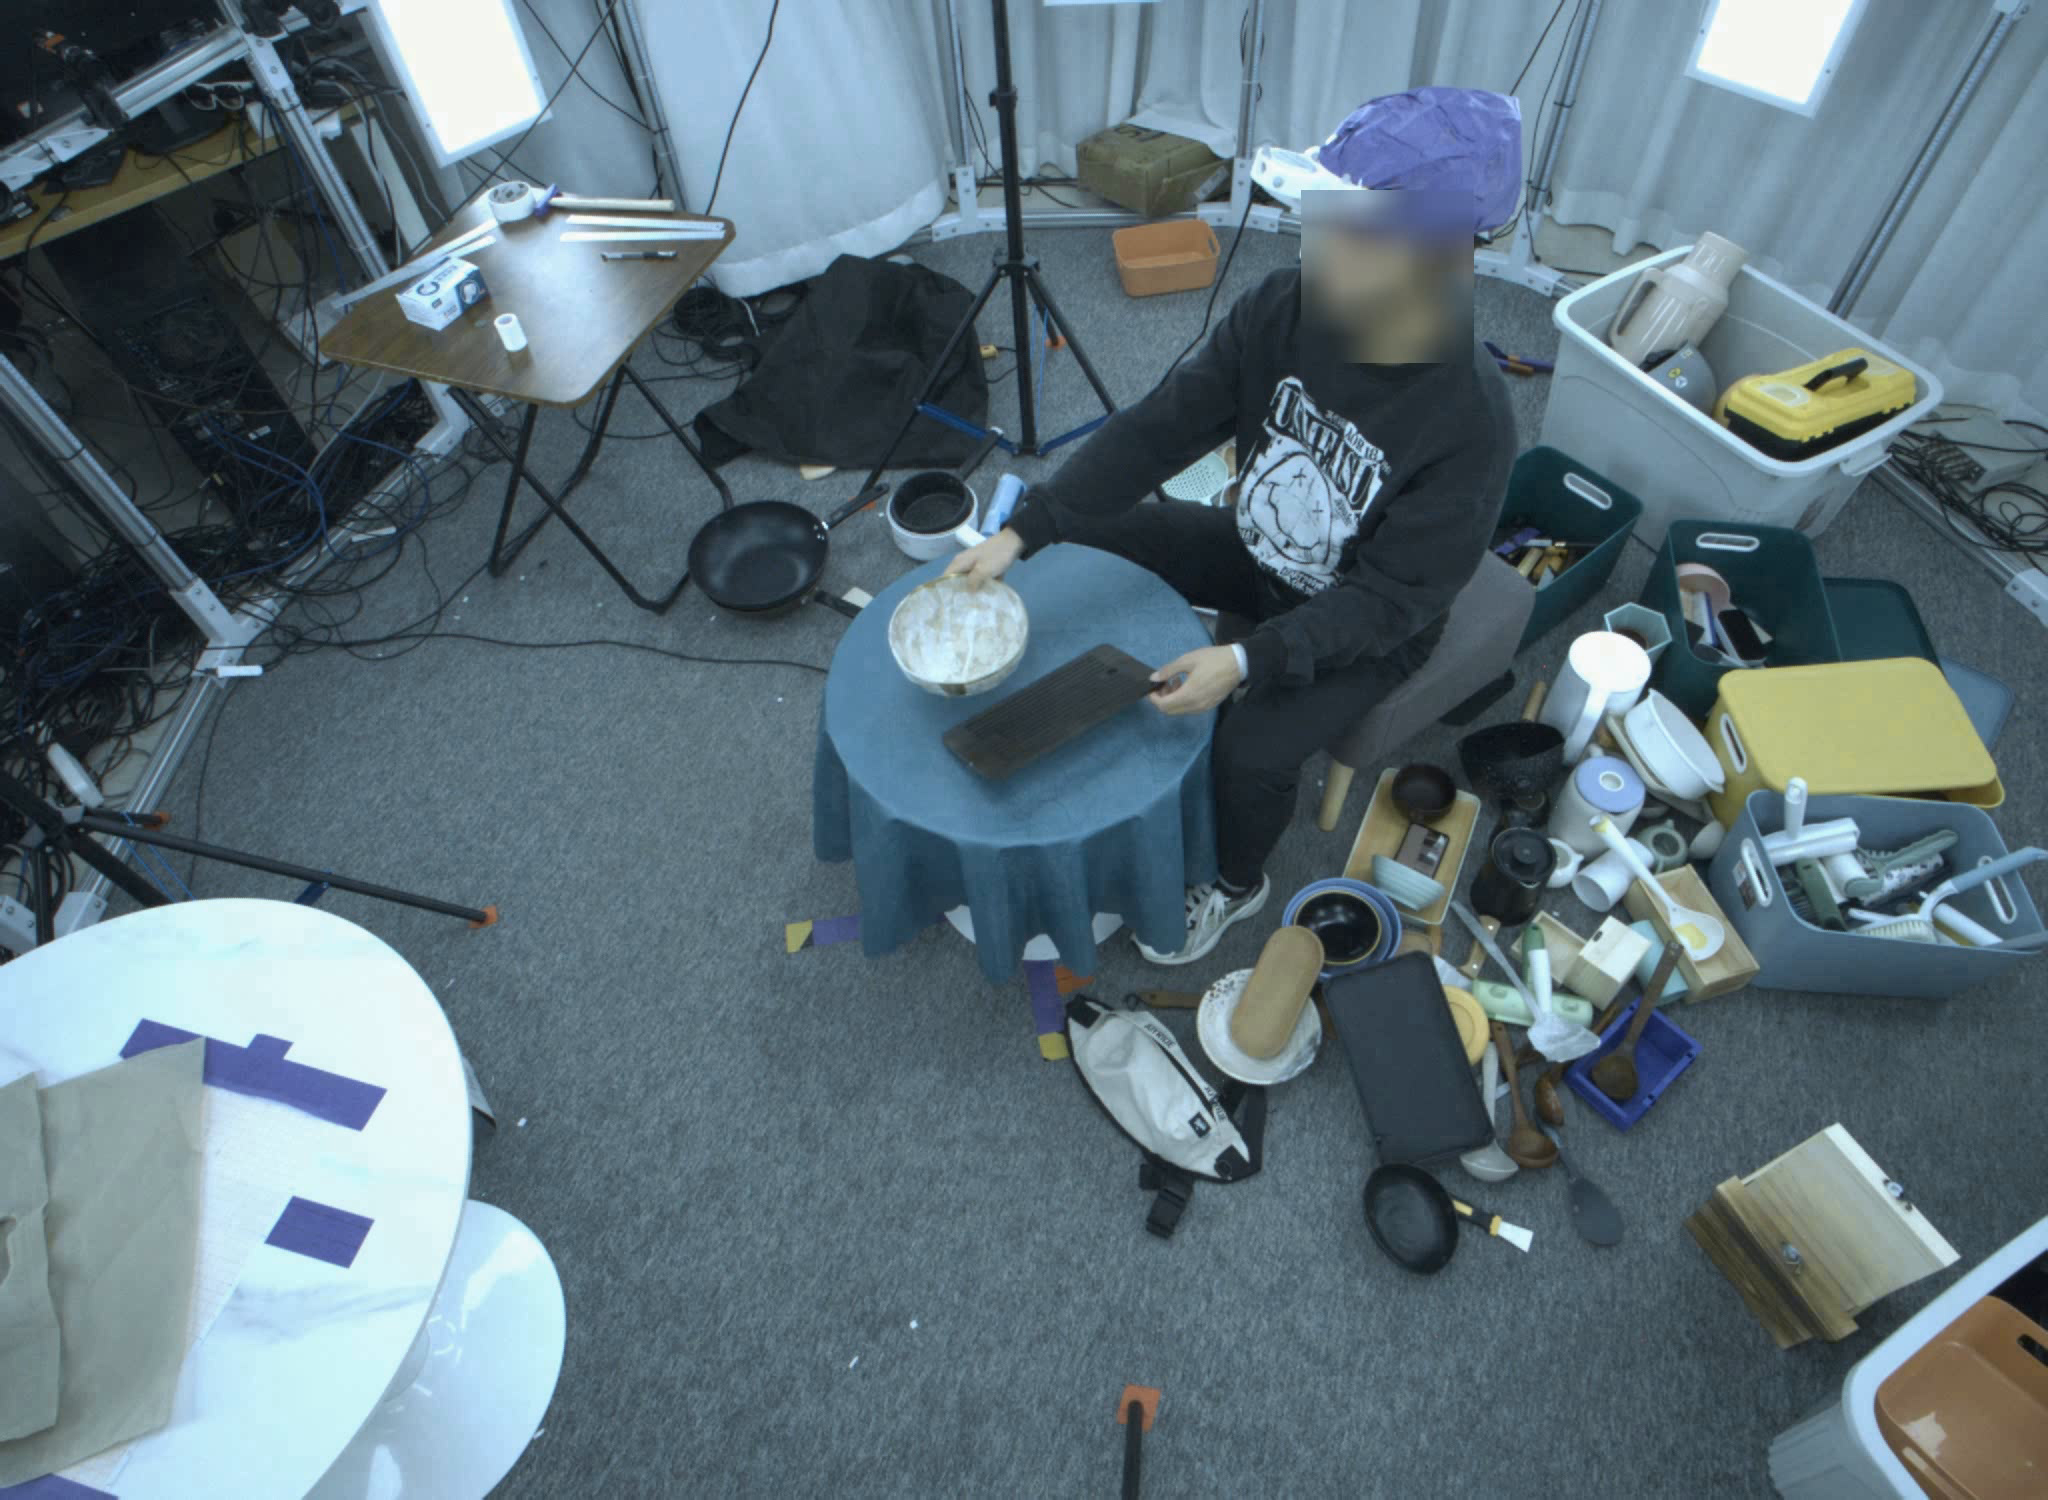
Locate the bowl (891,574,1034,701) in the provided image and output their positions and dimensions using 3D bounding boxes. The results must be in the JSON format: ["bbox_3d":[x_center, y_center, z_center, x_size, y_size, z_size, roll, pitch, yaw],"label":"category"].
[{"bbox_3d":[-0.084,-0.149,1.795,0.214,0.095,0.212,-2,59,4],"label":"bowl"}]

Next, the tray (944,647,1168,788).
[{"bbox_3d":[0.046,-0.050,1.785,0.308,0.019,0.166,-30,36,-18],"label":"tray"}]
